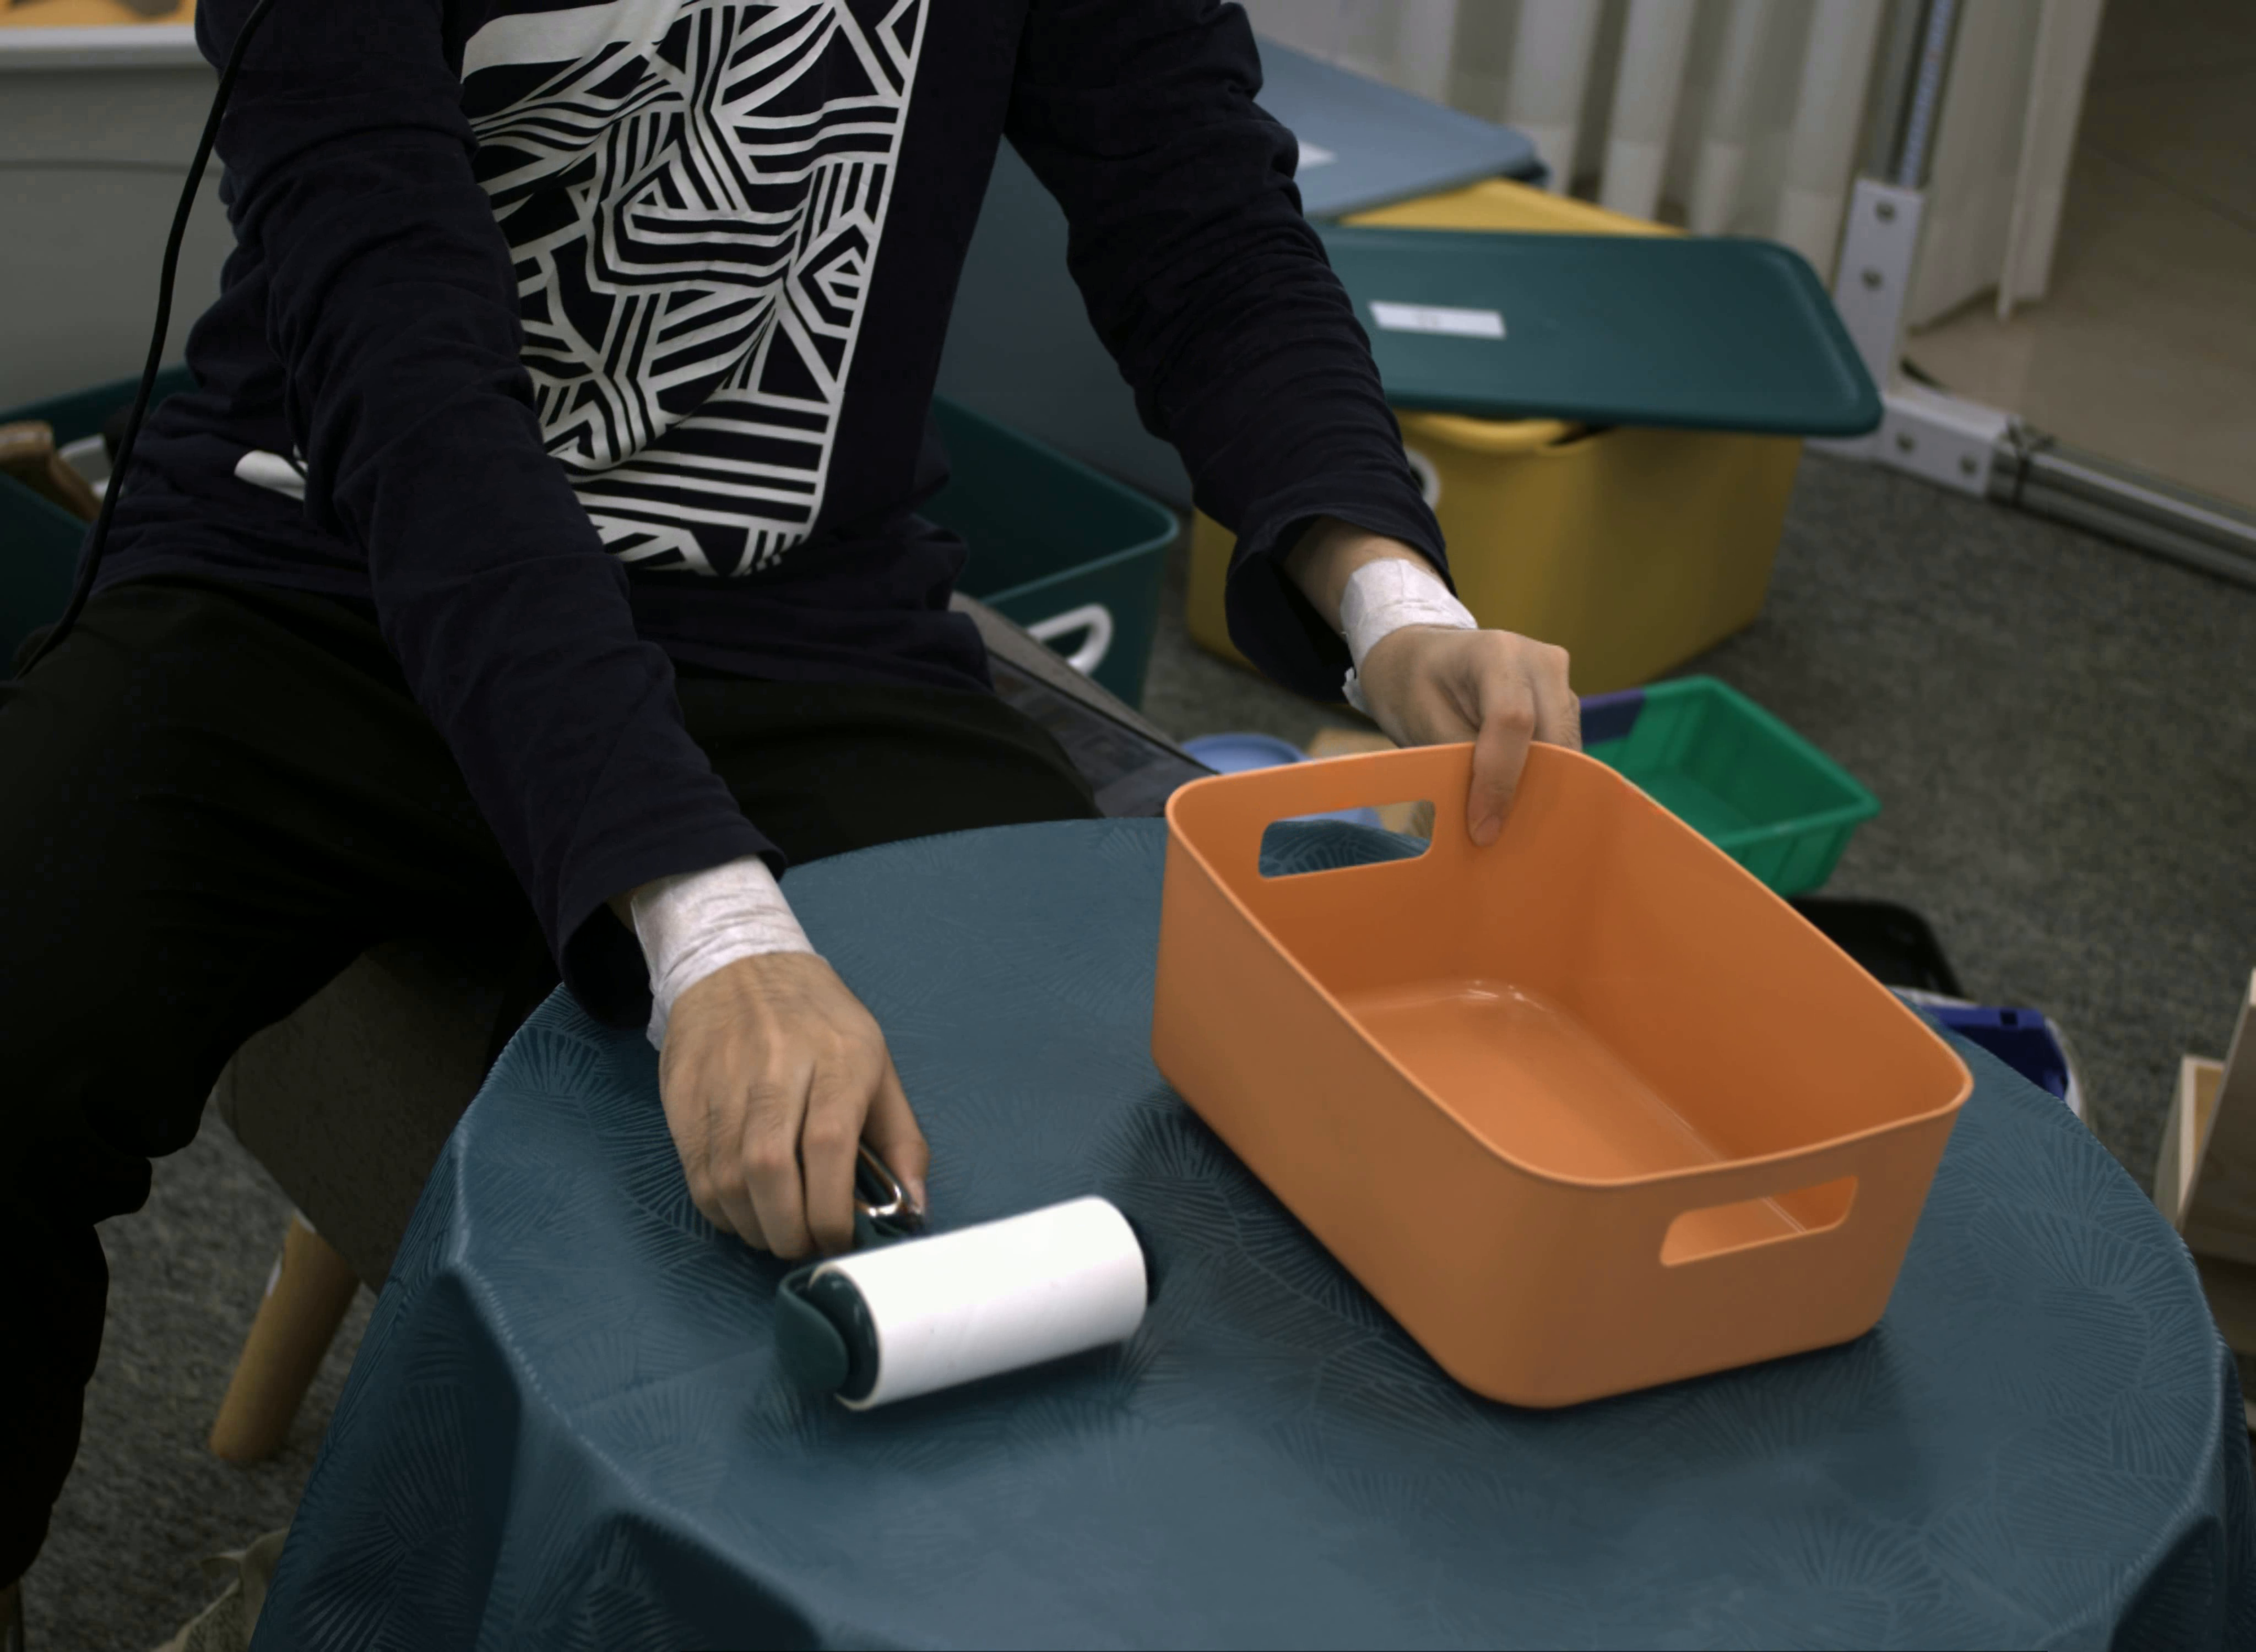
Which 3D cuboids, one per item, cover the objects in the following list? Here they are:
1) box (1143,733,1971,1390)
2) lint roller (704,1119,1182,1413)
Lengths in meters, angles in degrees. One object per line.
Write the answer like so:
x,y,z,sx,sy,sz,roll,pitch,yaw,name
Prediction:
0.134,0.078,1.797,0.198,0.102,0.276,-7,30,-30,box
-0.085,0.122,1.727,0.133,0.048,0.182,-12,33,-32,lint roller
